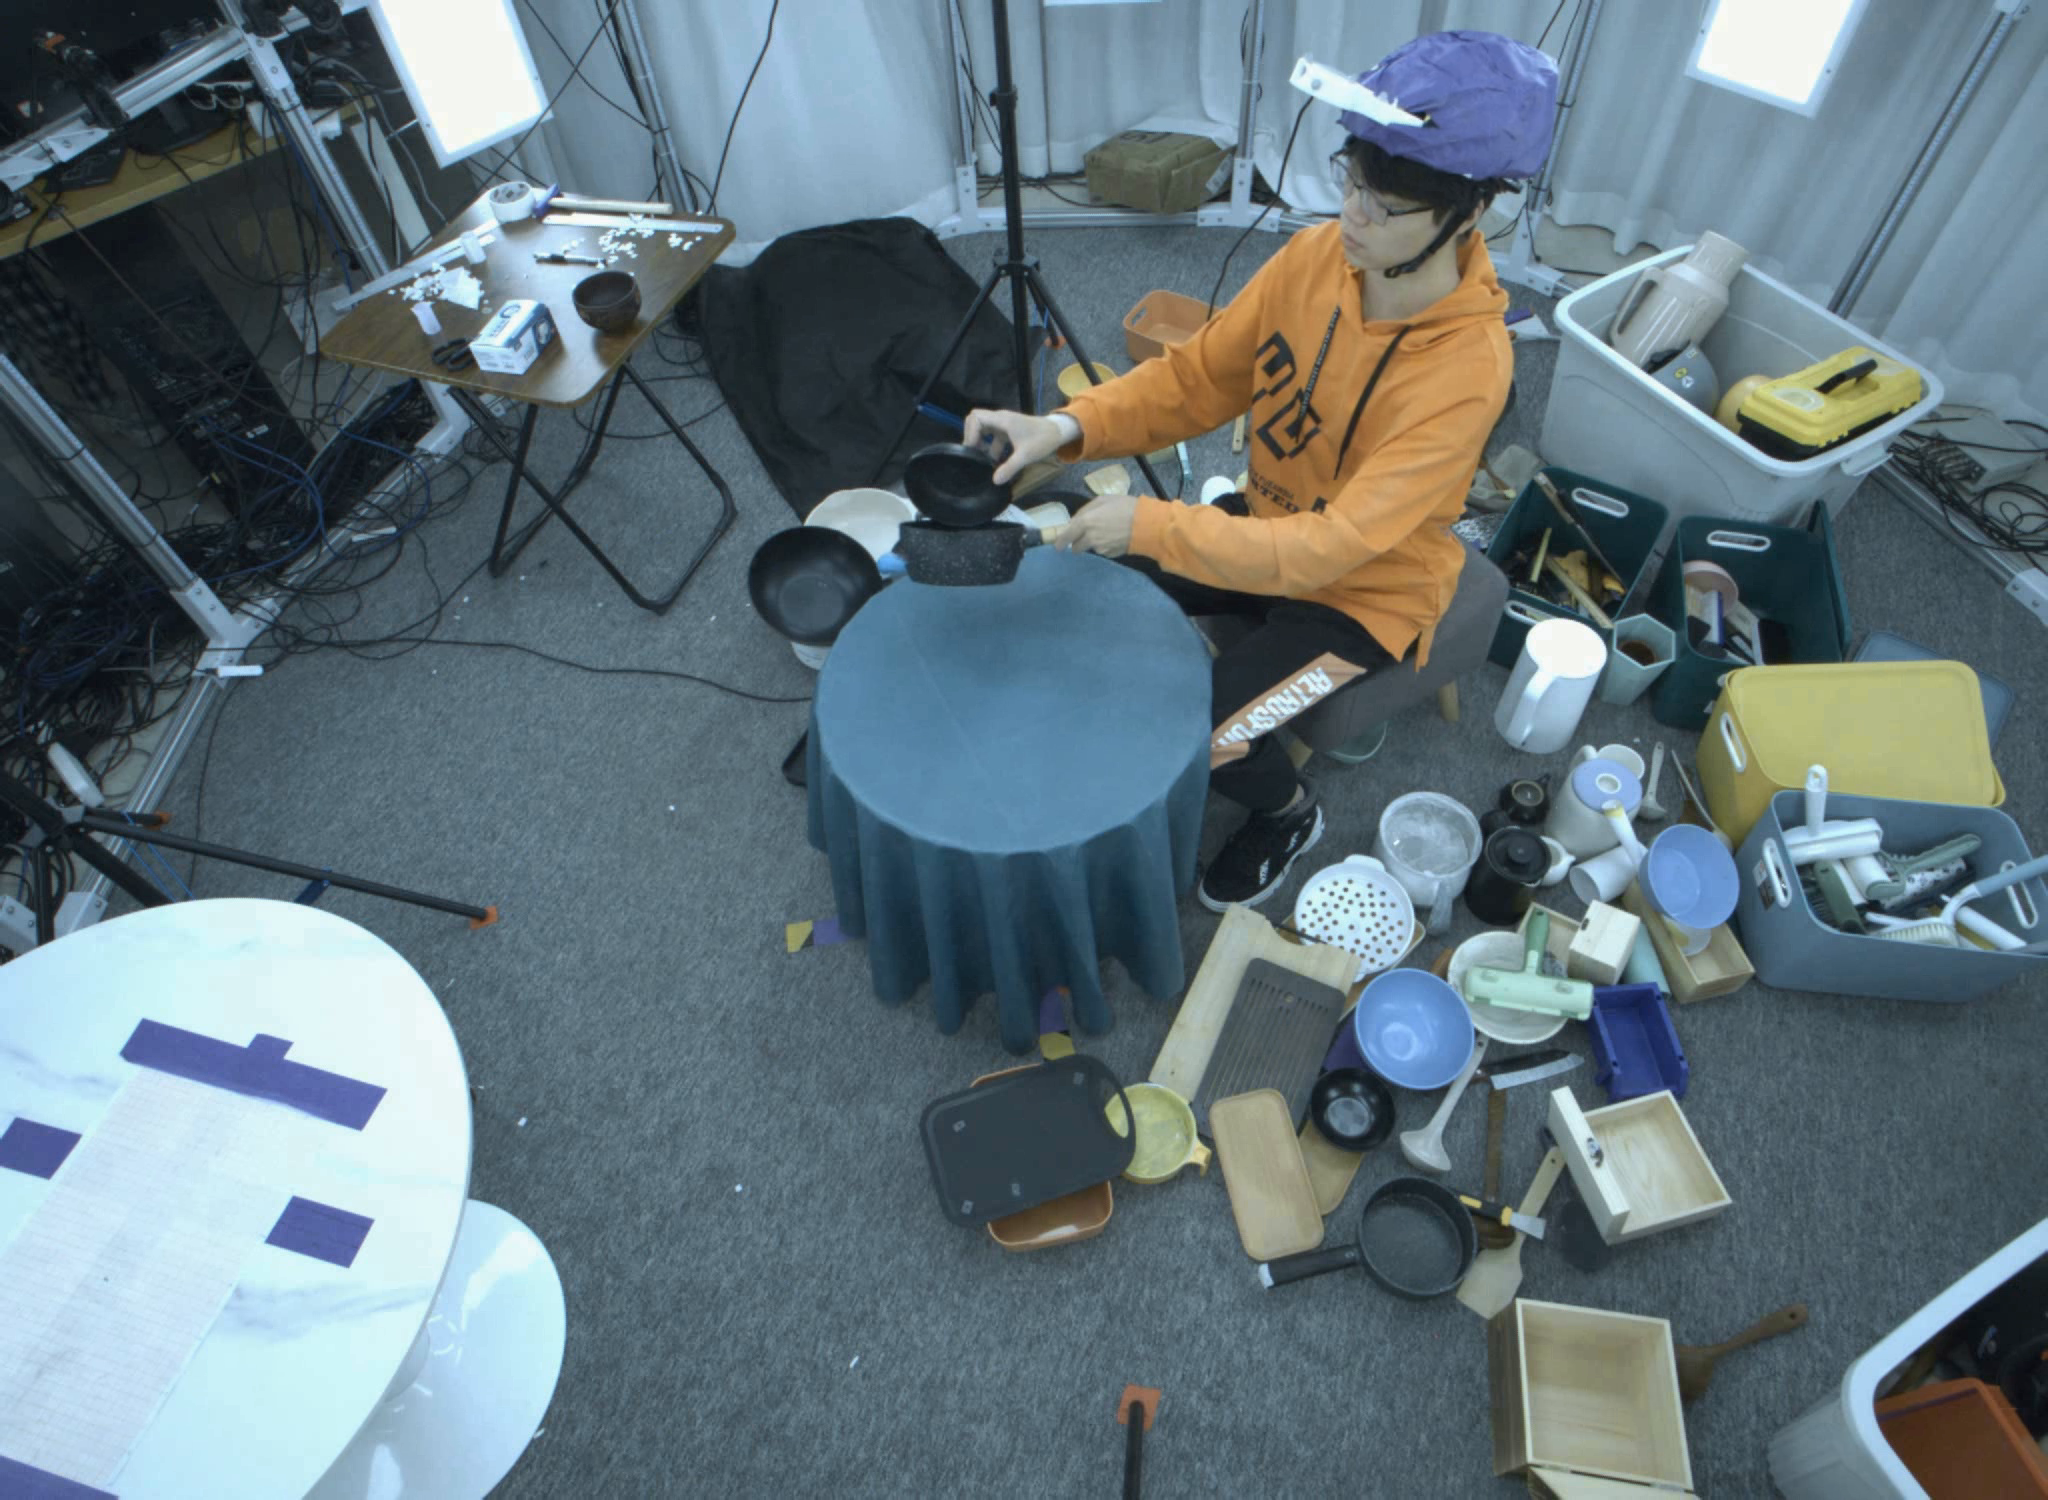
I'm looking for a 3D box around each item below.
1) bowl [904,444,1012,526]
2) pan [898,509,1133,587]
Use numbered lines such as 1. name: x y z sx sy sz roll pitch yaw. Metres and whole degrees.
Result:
1. bowl: -0.100 -0.403 1.795 0.174 0.136 0.066 17 50 -28
2. pan: -0.014 -0.299 1.791 0.342 0.109 0.206 1 16 2
